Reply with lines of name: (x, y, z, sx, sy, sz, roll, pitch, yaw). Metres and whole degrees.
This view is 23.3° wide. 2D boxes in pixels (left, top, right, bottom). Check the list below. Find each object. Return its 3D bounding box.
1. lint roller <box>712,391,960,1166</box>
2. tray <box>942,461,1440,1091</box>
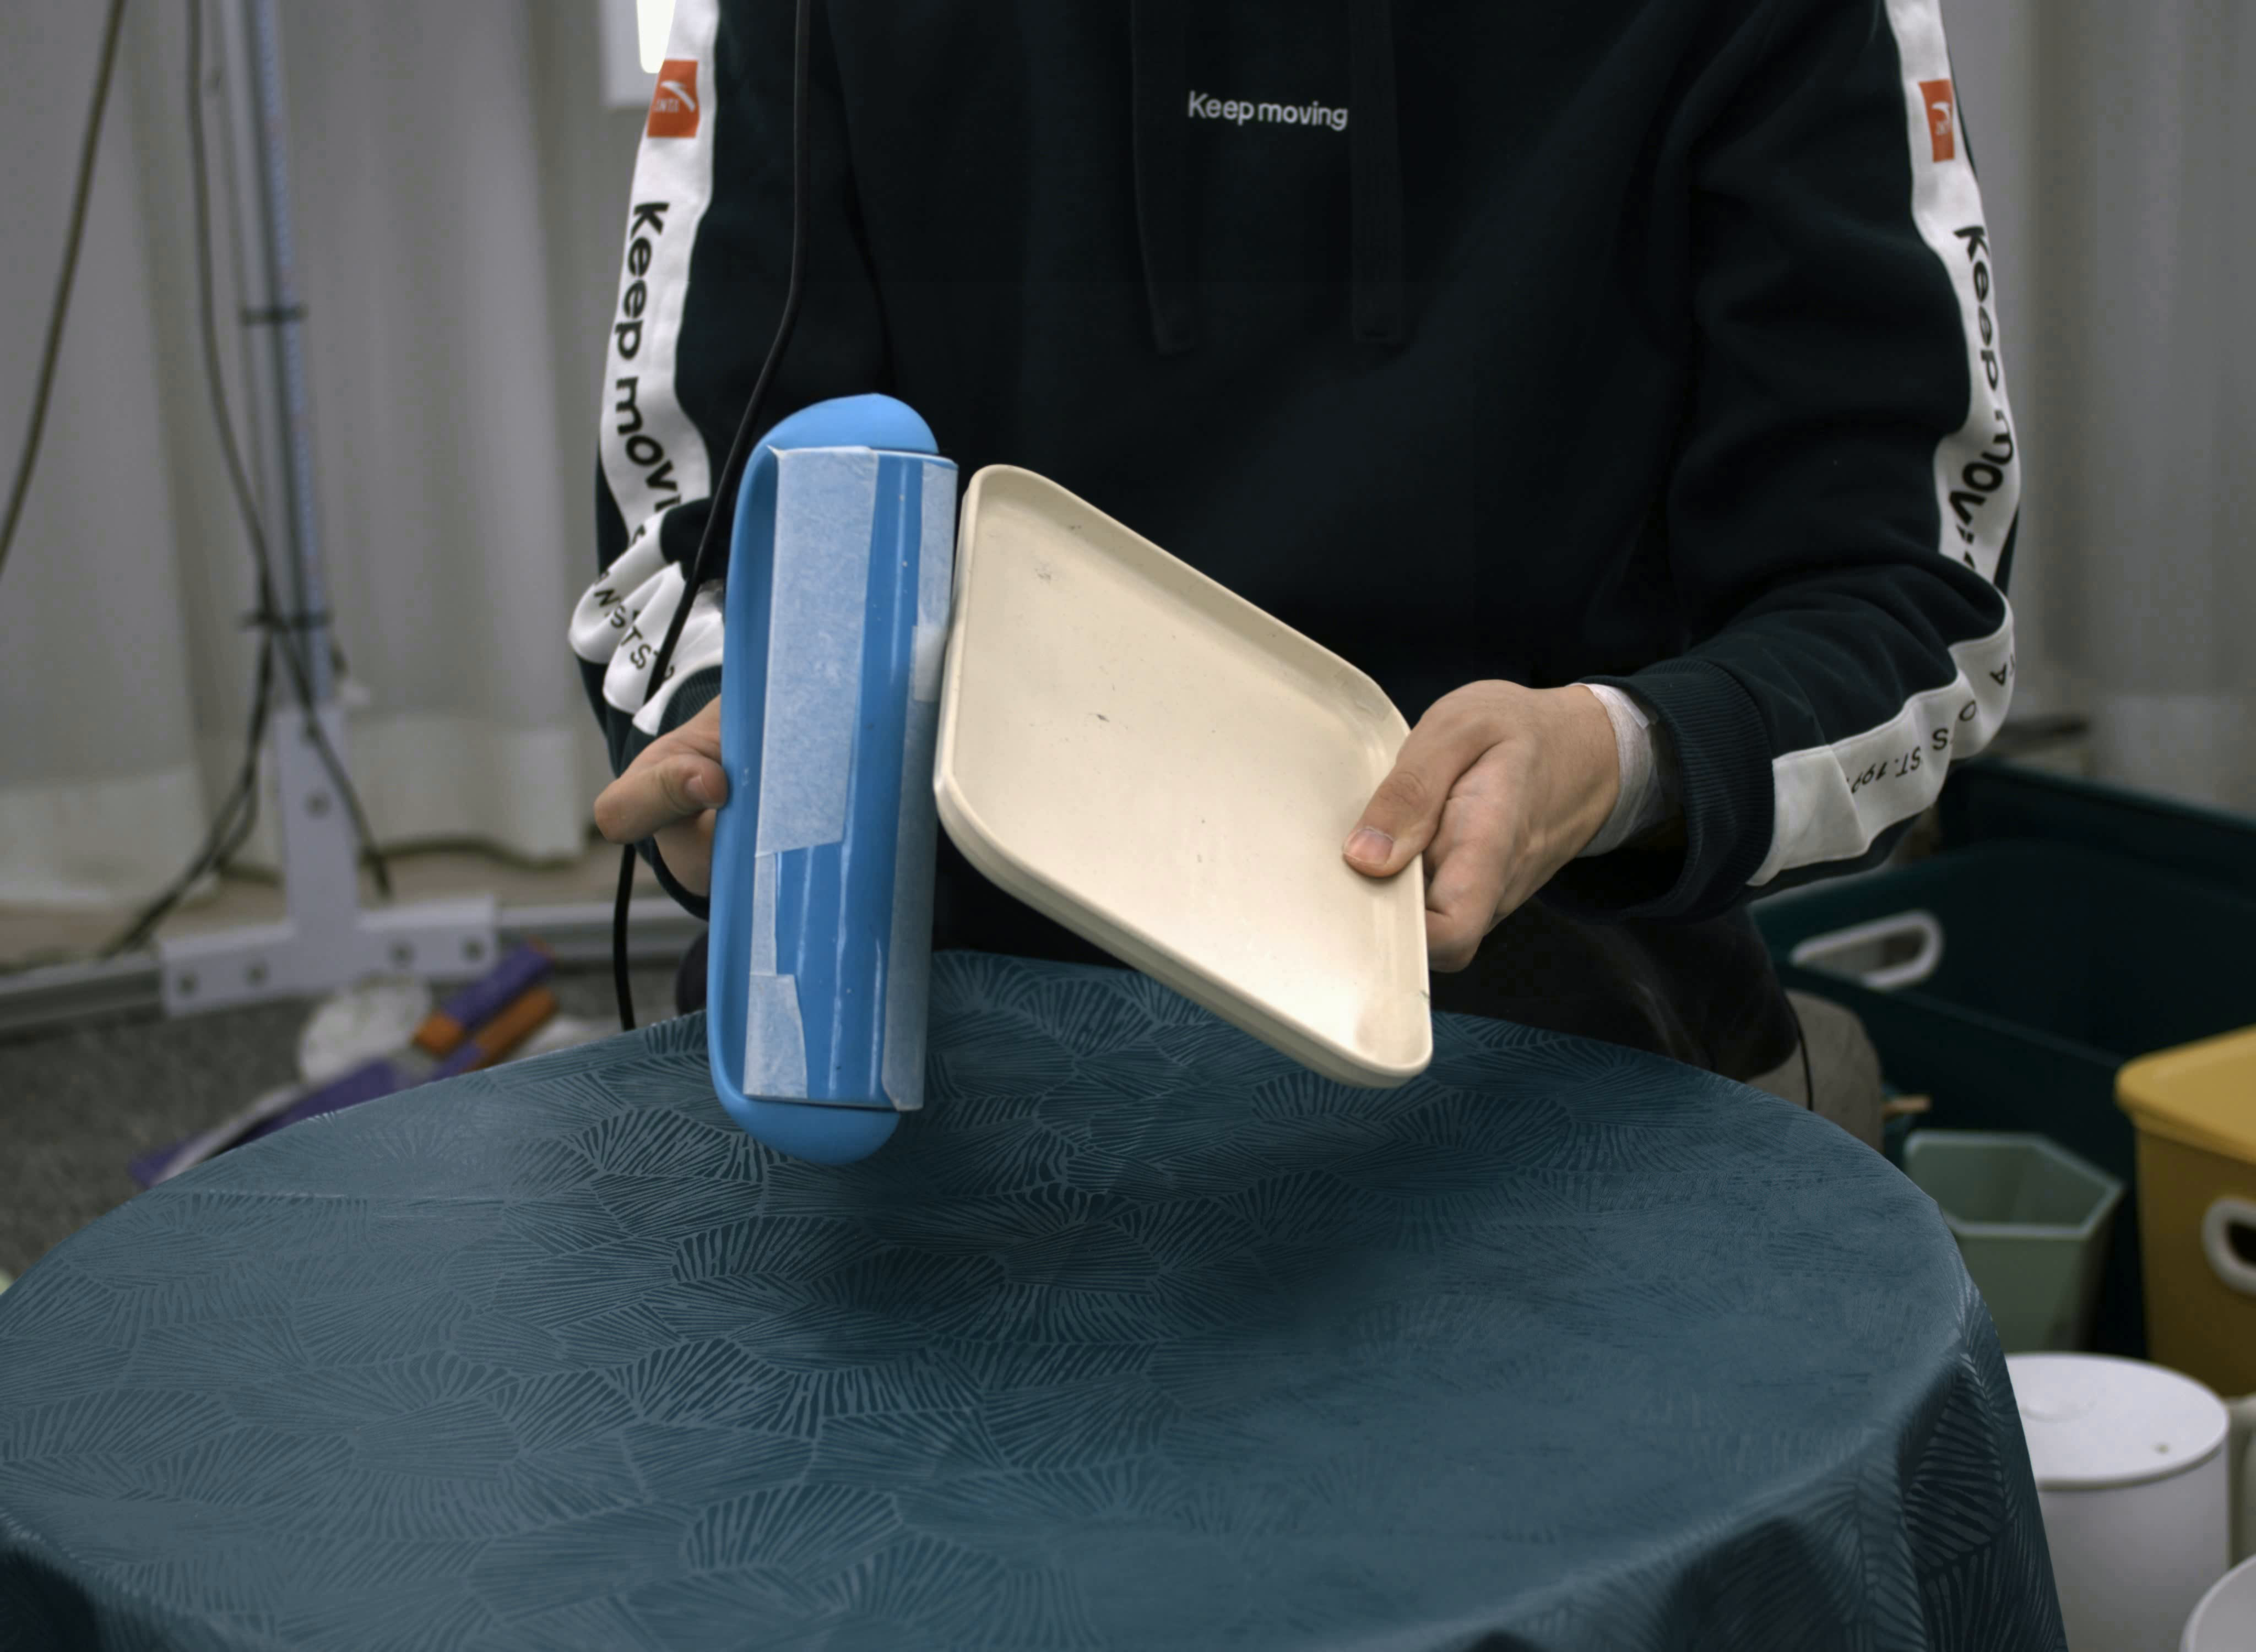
lint roller: (-0.093, -0.010, 1.677, 0.067, 0.230, 0.180, 3, -5, -11)
tray: (0.017, -0.016, 1.641, 0.170, 0.017, 0.243, 31, 26, -15)
